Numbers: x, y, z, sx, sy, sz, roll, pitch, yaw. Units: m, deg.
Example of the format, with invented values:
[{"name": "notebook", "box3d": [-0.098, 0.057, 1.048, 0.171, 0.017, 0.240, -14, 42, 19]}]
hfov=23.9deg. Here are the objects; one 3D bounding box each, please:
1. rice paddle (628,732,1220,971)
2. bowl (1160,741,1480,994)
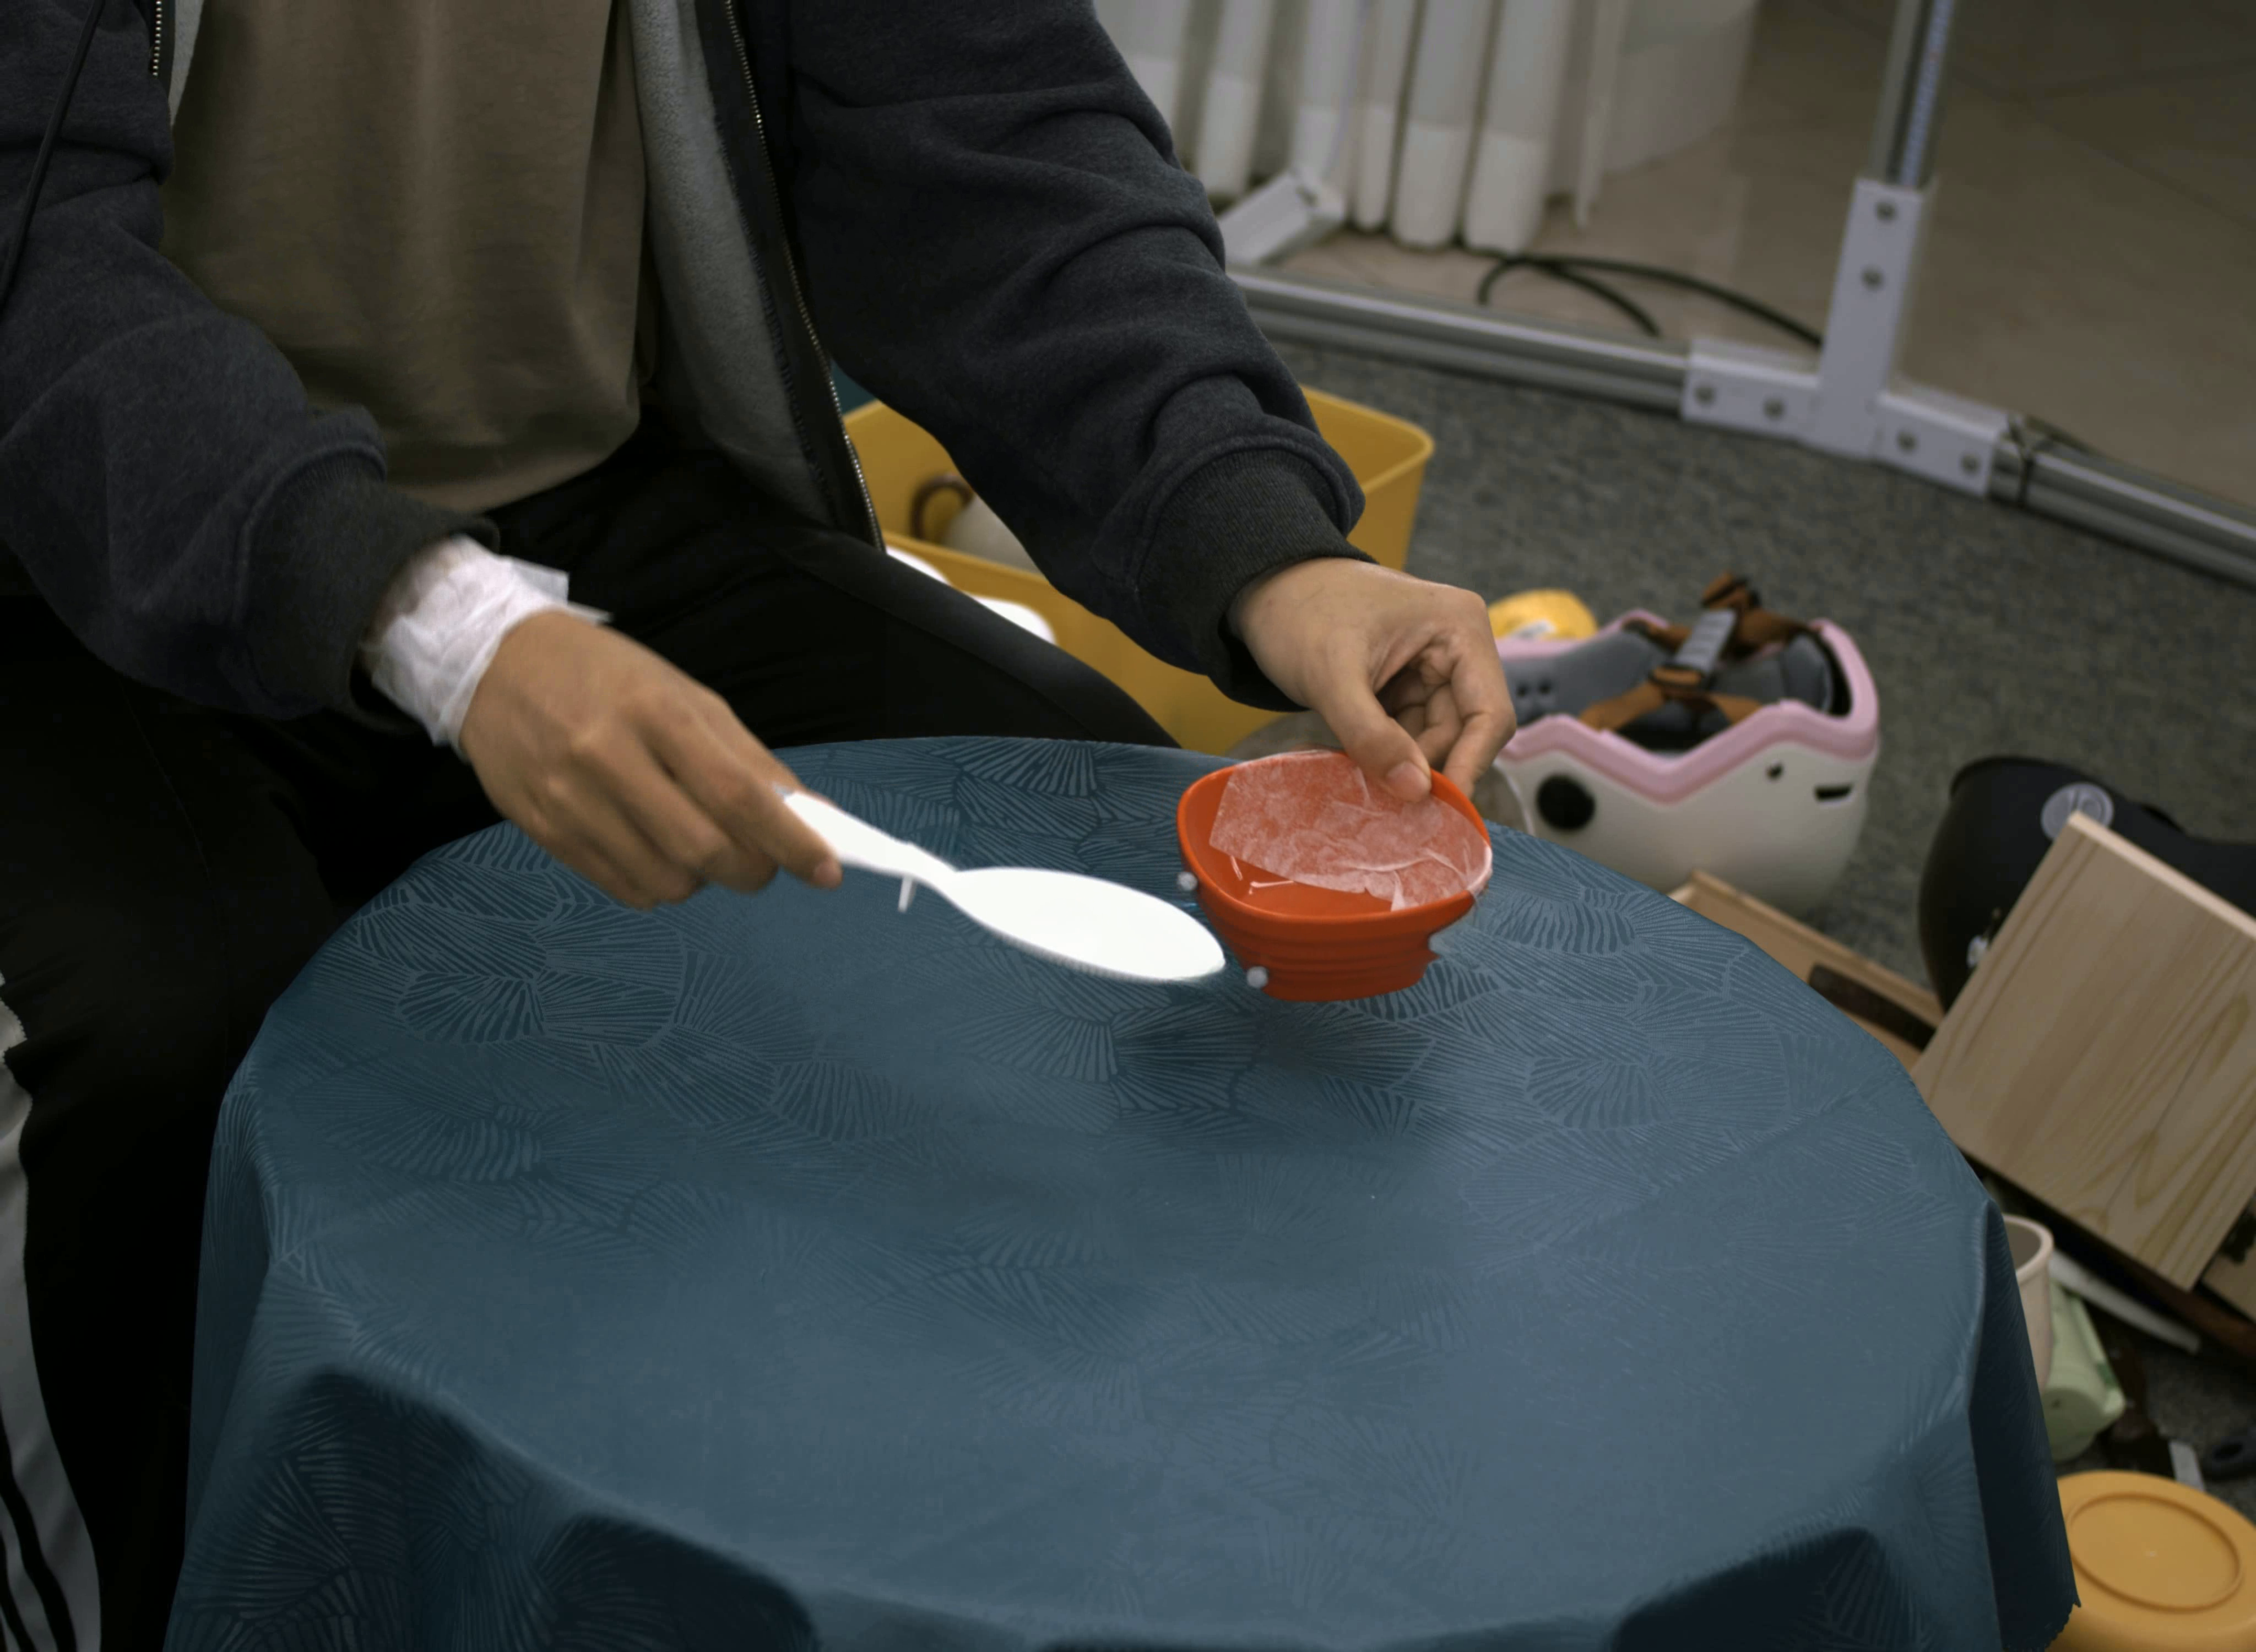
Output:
[{"name": "rice paddle", "box3d": [-0.066, 0.011, 1.778, 0.205, 0.029, 0.069, 17, 24, 7]}, {"name": "bowl", "box3d": [0.067, 0.019, 1.894, 0.118, 0.051, 0.120, -1, 32, 0]}]
